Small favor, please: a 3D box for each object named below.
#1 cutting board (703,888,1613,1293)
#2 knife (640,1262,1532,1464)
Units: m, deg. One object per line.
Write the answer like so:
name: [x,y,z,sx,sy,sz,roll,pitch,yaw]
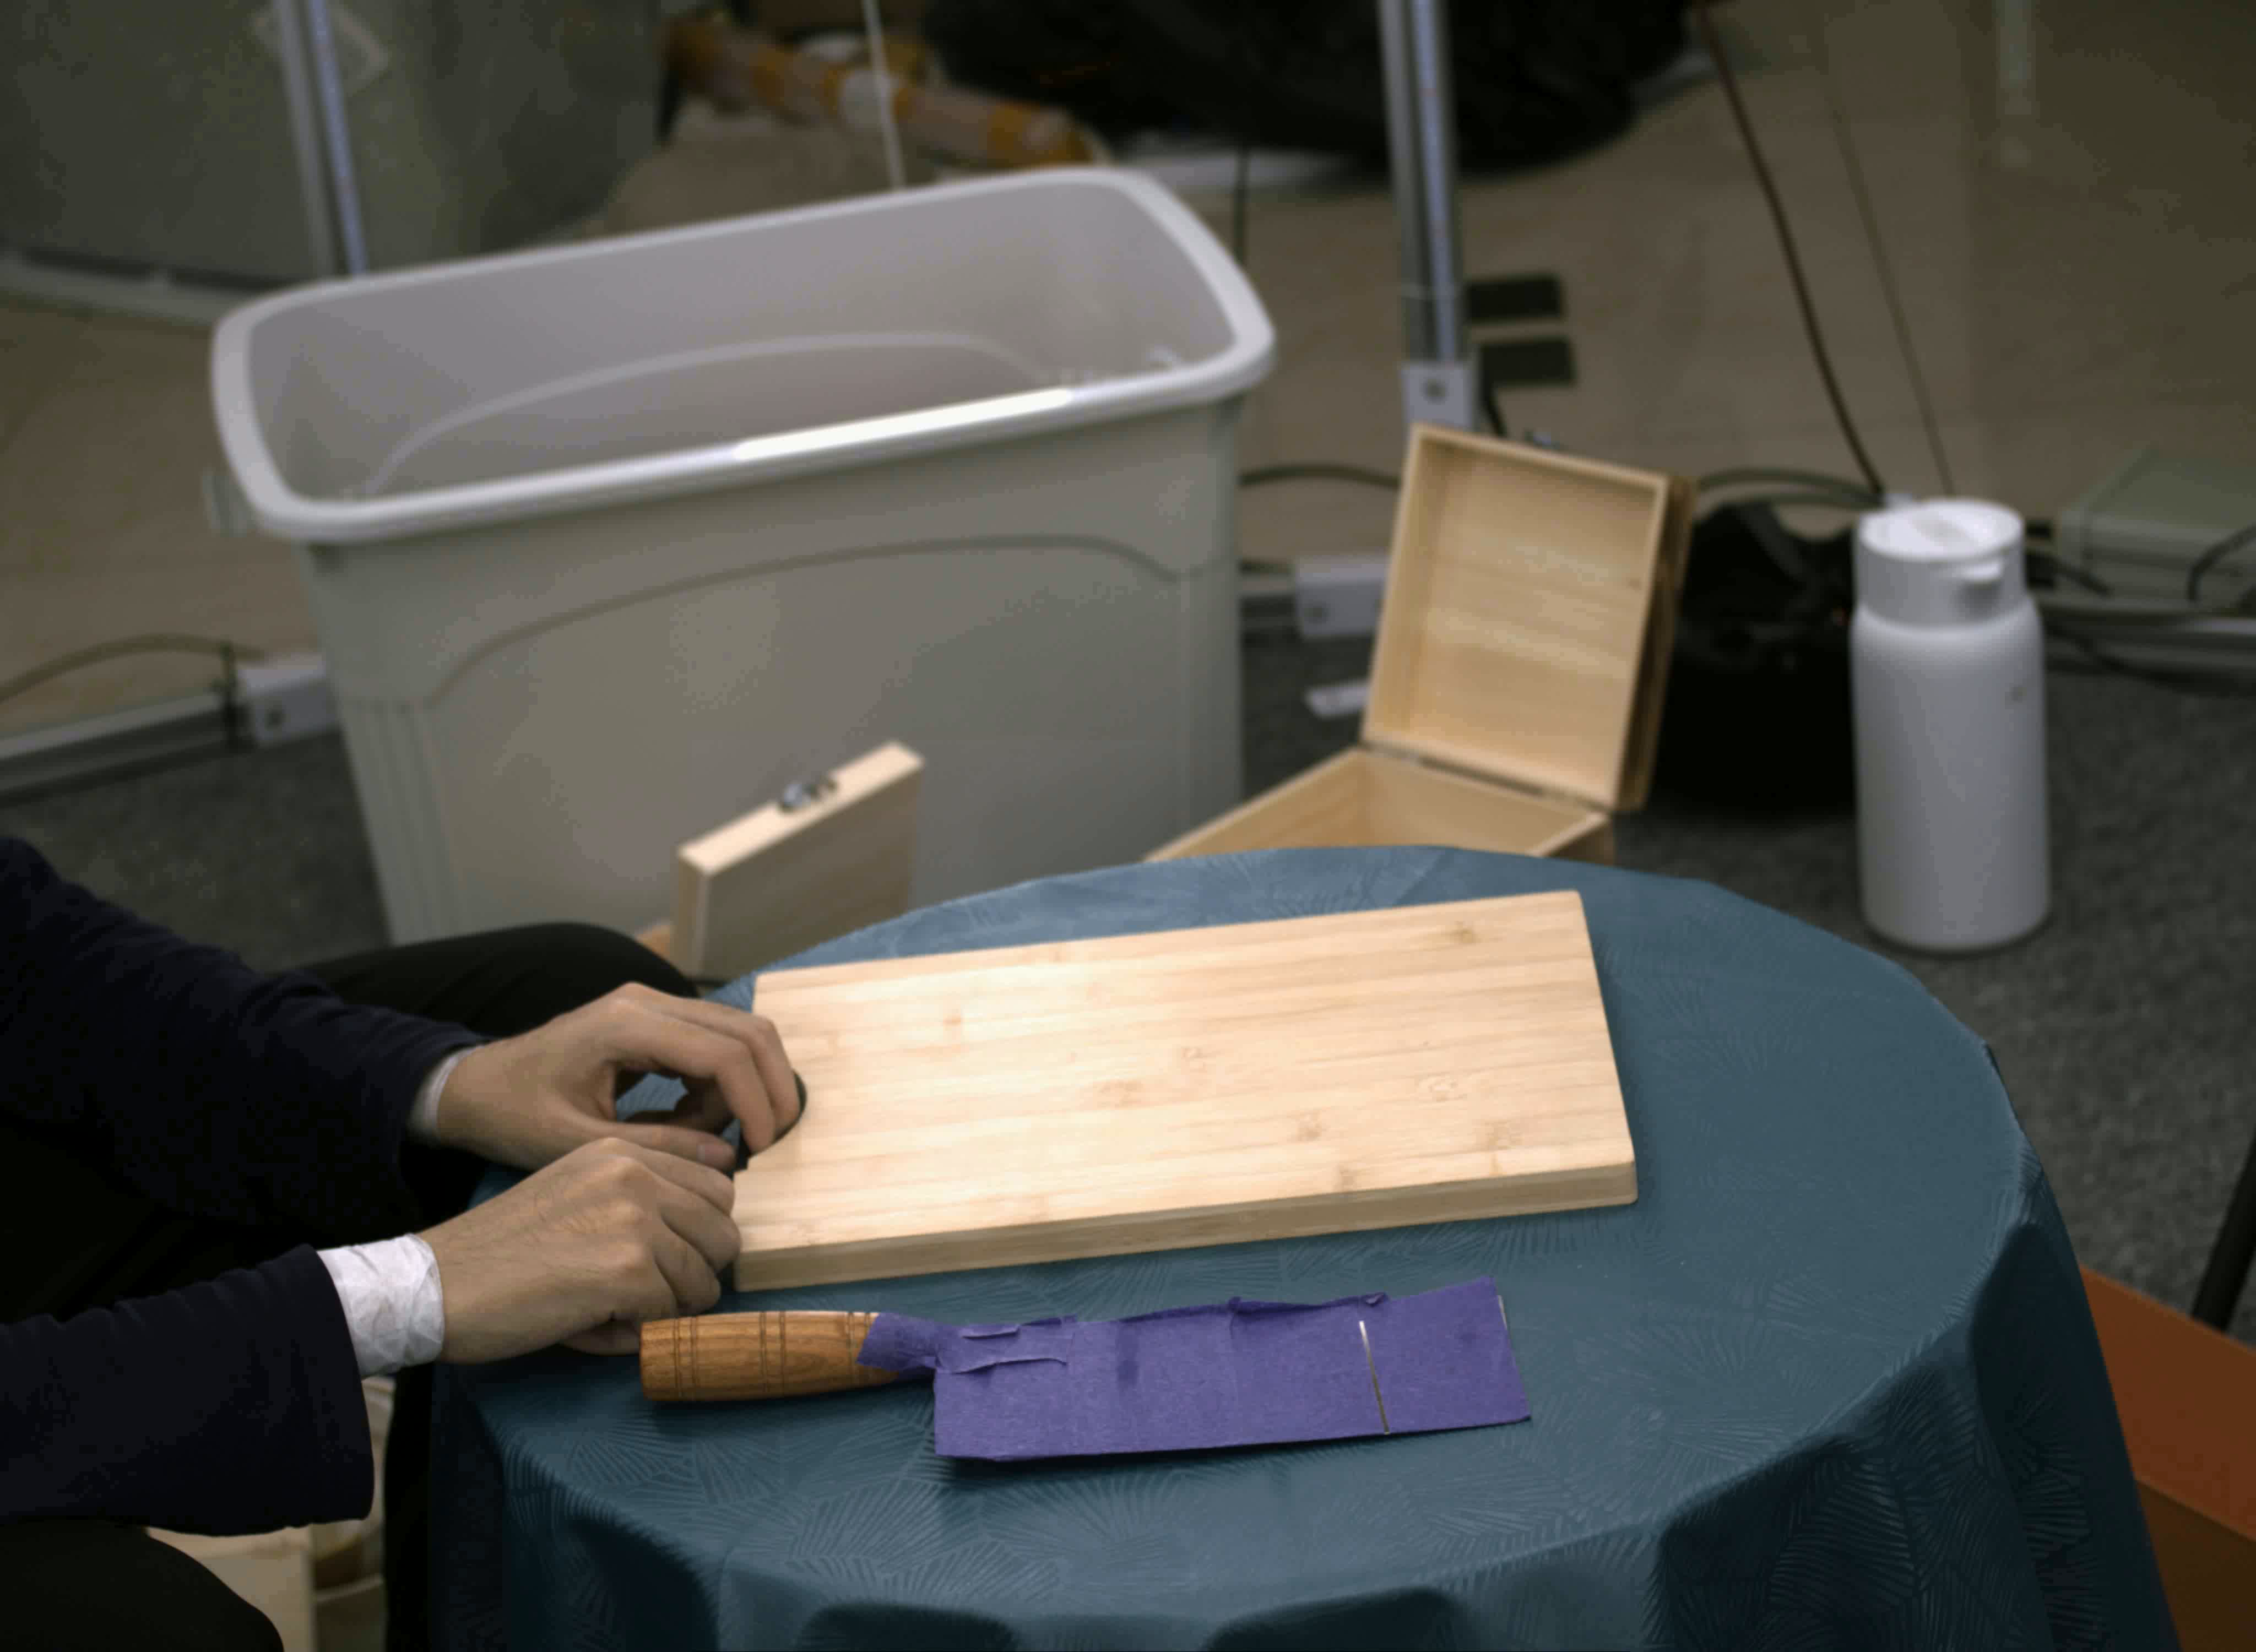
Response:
cutting board: [0.013,0.101,2.212,0.348,0.024,0.247,-6,25,2]
knife: [-0.017,0.193,2.007,0.315,0.033,0.102,-6,25,0]
